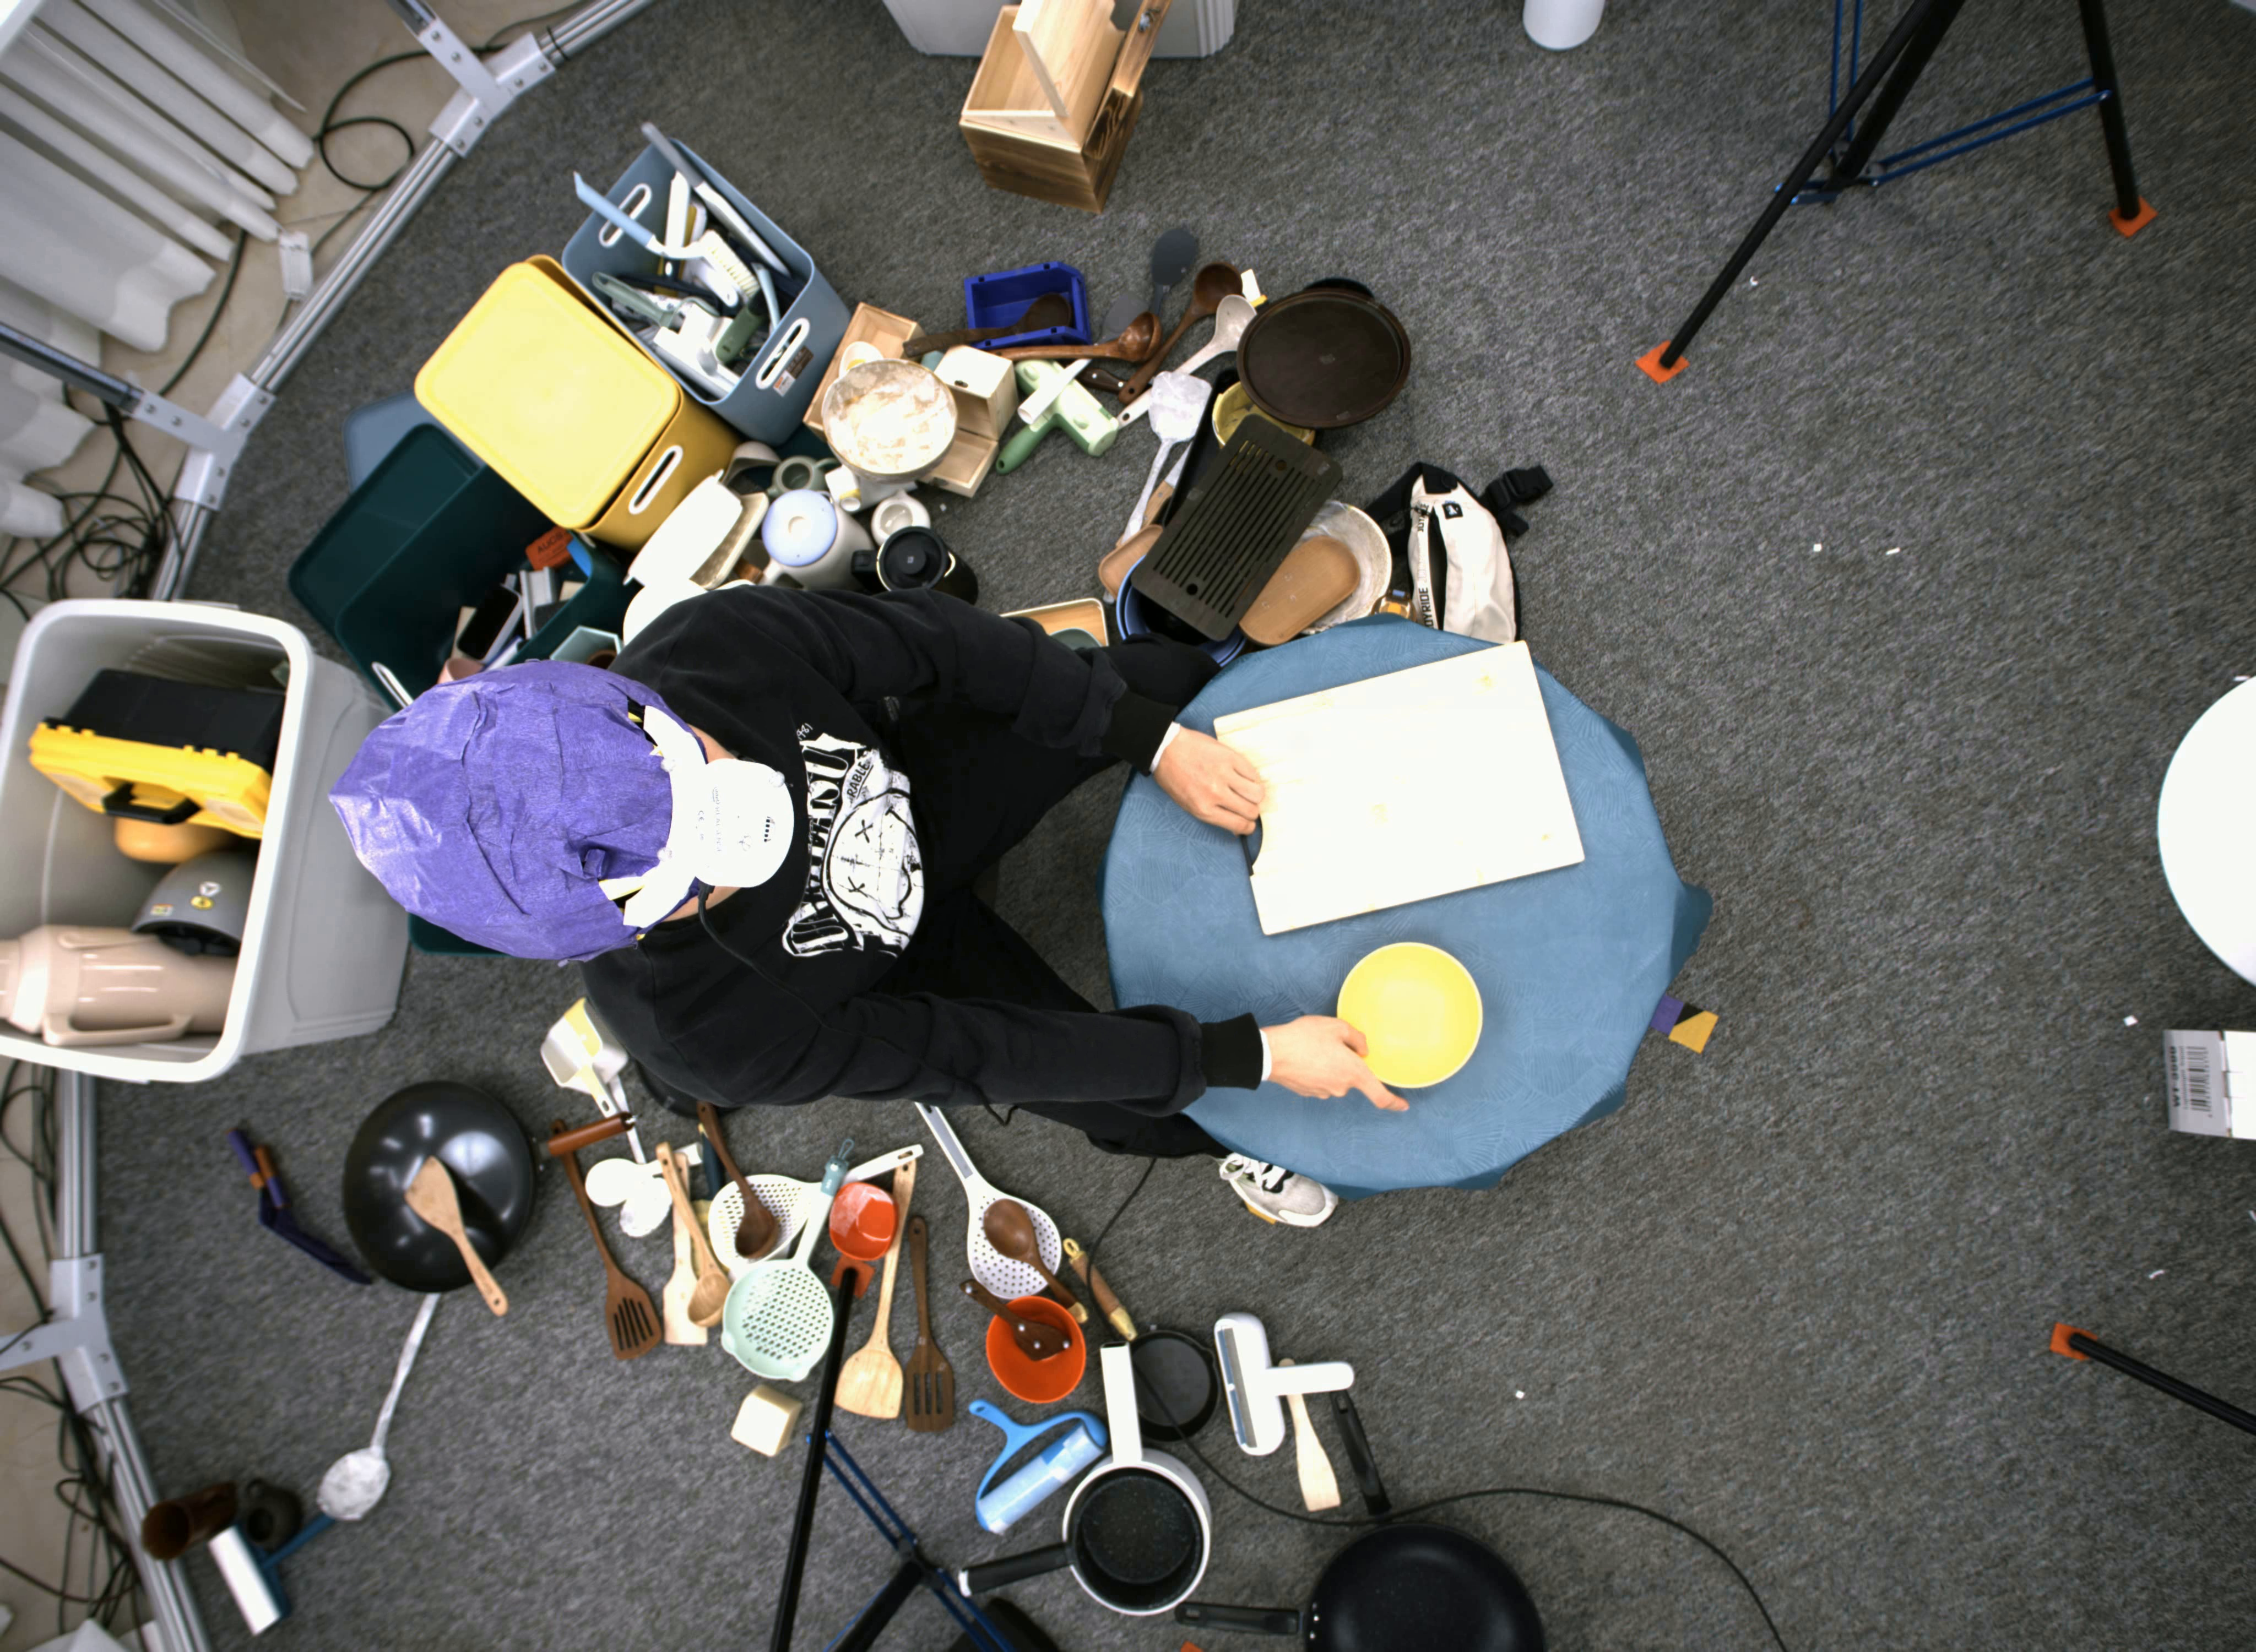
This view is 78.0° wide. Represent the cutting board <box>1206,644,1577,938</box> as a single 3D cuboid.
[{"bbox_3d":[0.279,-0.037,1.462,0.350,0.023,0.249,-15,83,9],"label":"cutting board"}]

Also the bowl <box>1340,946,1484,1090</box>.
[{"bbox_3d":[0.292,0.196,1.424,0.146,0.060,0.144,-2,83,12],"label":"bowl"}]
